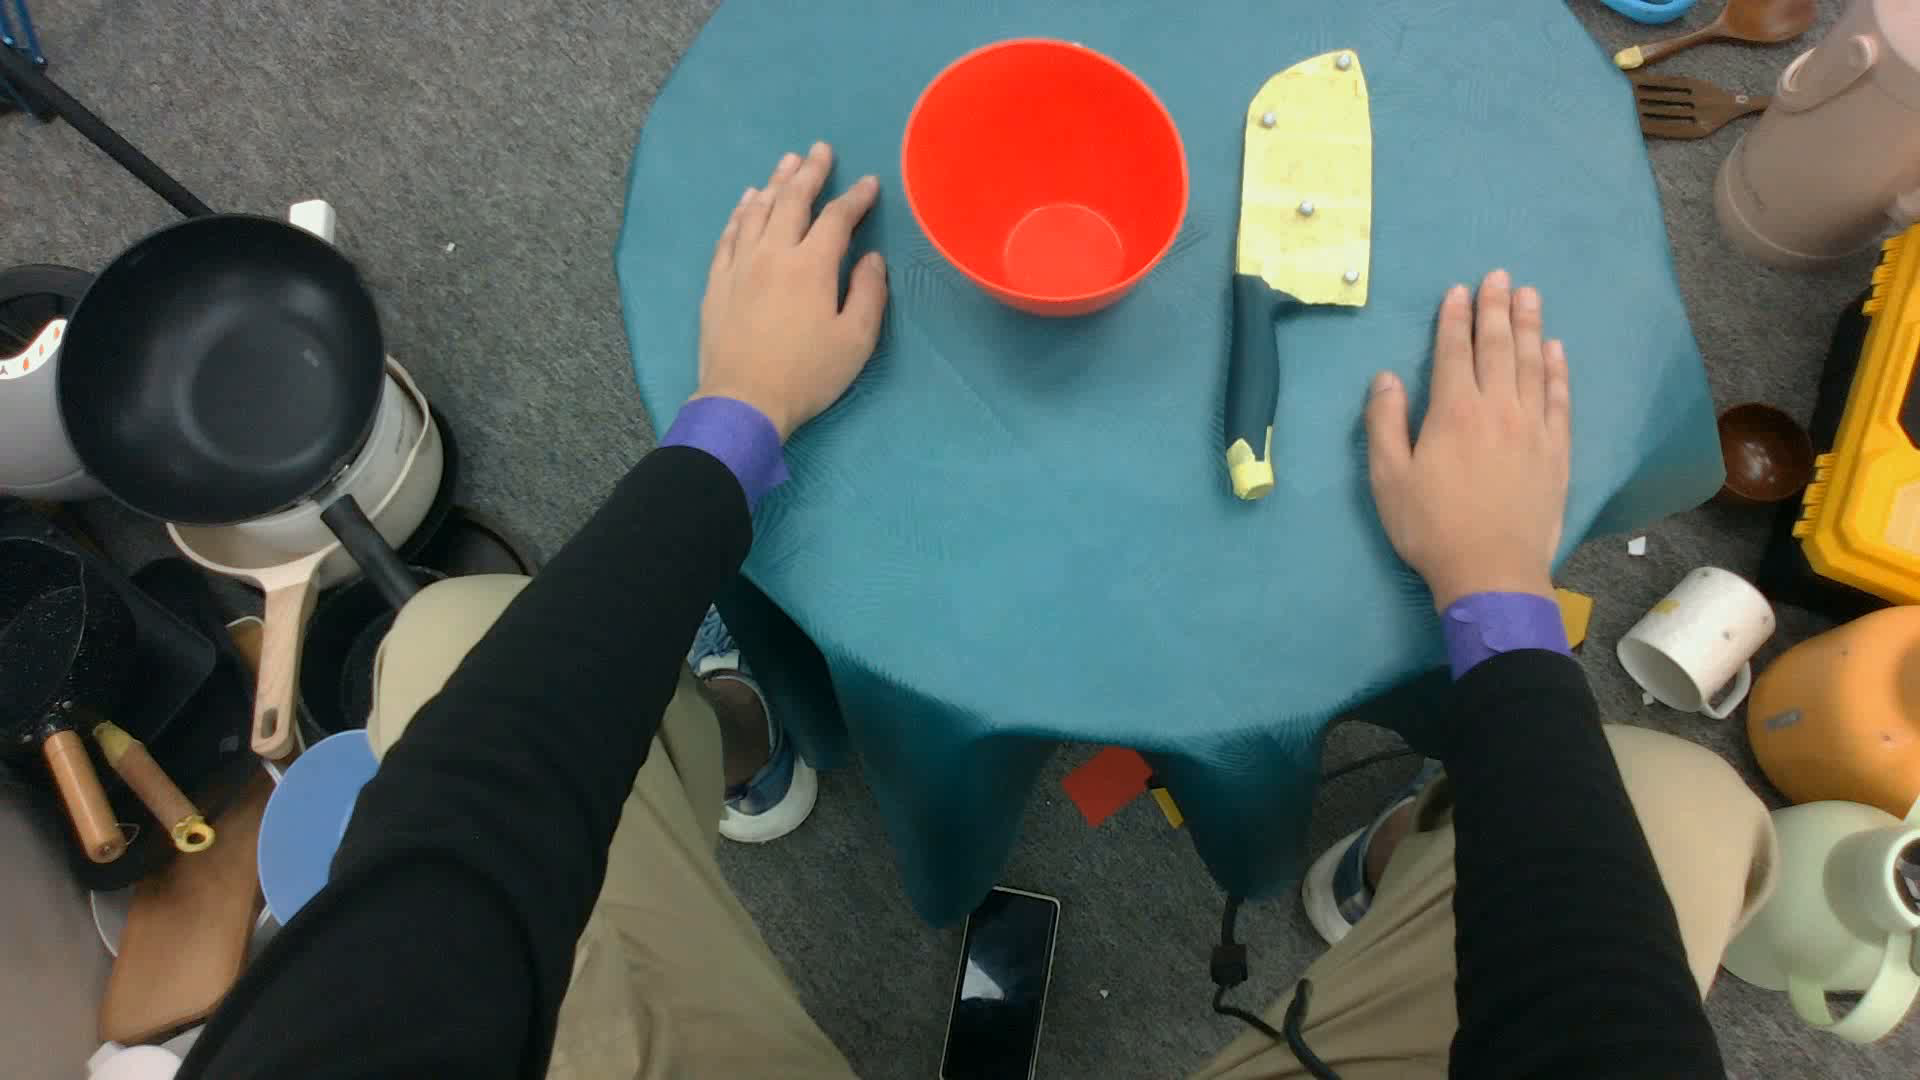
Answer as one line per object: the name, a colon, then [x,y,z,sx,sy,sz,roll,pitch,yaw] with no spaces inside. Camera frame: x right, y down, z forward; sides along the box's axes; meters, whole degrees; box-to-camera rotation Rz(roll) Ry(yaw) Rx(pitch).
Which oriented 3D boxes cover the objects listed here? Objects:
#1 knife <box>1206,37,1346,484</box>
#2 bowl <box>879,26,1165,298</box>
knife: [0.177,-0.166,0.780,0.081,0.027,0.290,7,72,6]
bowl: [0.034,-0.189,0.747,0.148,0.104,0.148,0,71,1]
